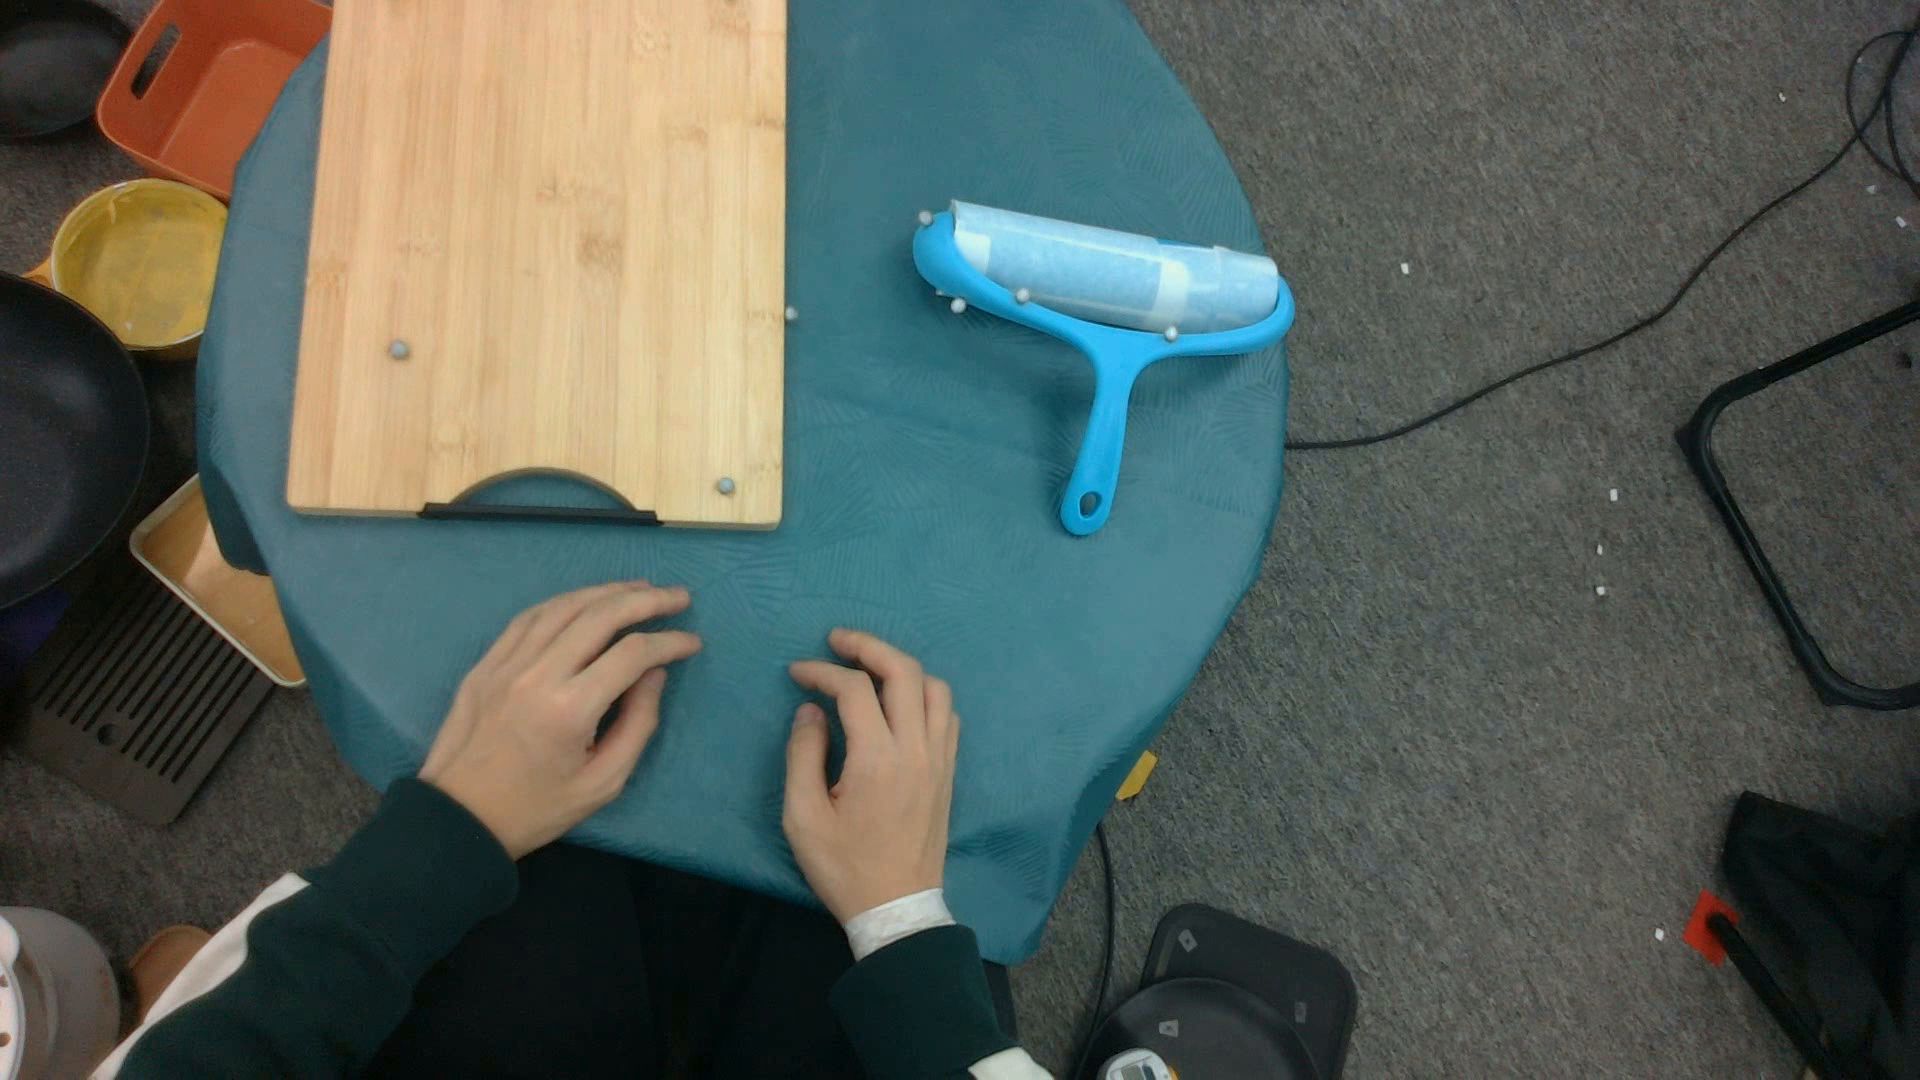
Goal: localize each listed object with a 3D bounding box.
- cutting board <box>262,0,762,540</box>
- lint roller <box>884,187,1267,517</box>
[{"bbox_3d":[-0.232,-0.170,0.744,0.251,0.023,0.349,-1,77,-14],"label":"cutting board"},{"bbox_3d":[0.070,-0.107,0.785,0.229,0.067,0.180,3,76,-15],"label":"lint roller"}]
